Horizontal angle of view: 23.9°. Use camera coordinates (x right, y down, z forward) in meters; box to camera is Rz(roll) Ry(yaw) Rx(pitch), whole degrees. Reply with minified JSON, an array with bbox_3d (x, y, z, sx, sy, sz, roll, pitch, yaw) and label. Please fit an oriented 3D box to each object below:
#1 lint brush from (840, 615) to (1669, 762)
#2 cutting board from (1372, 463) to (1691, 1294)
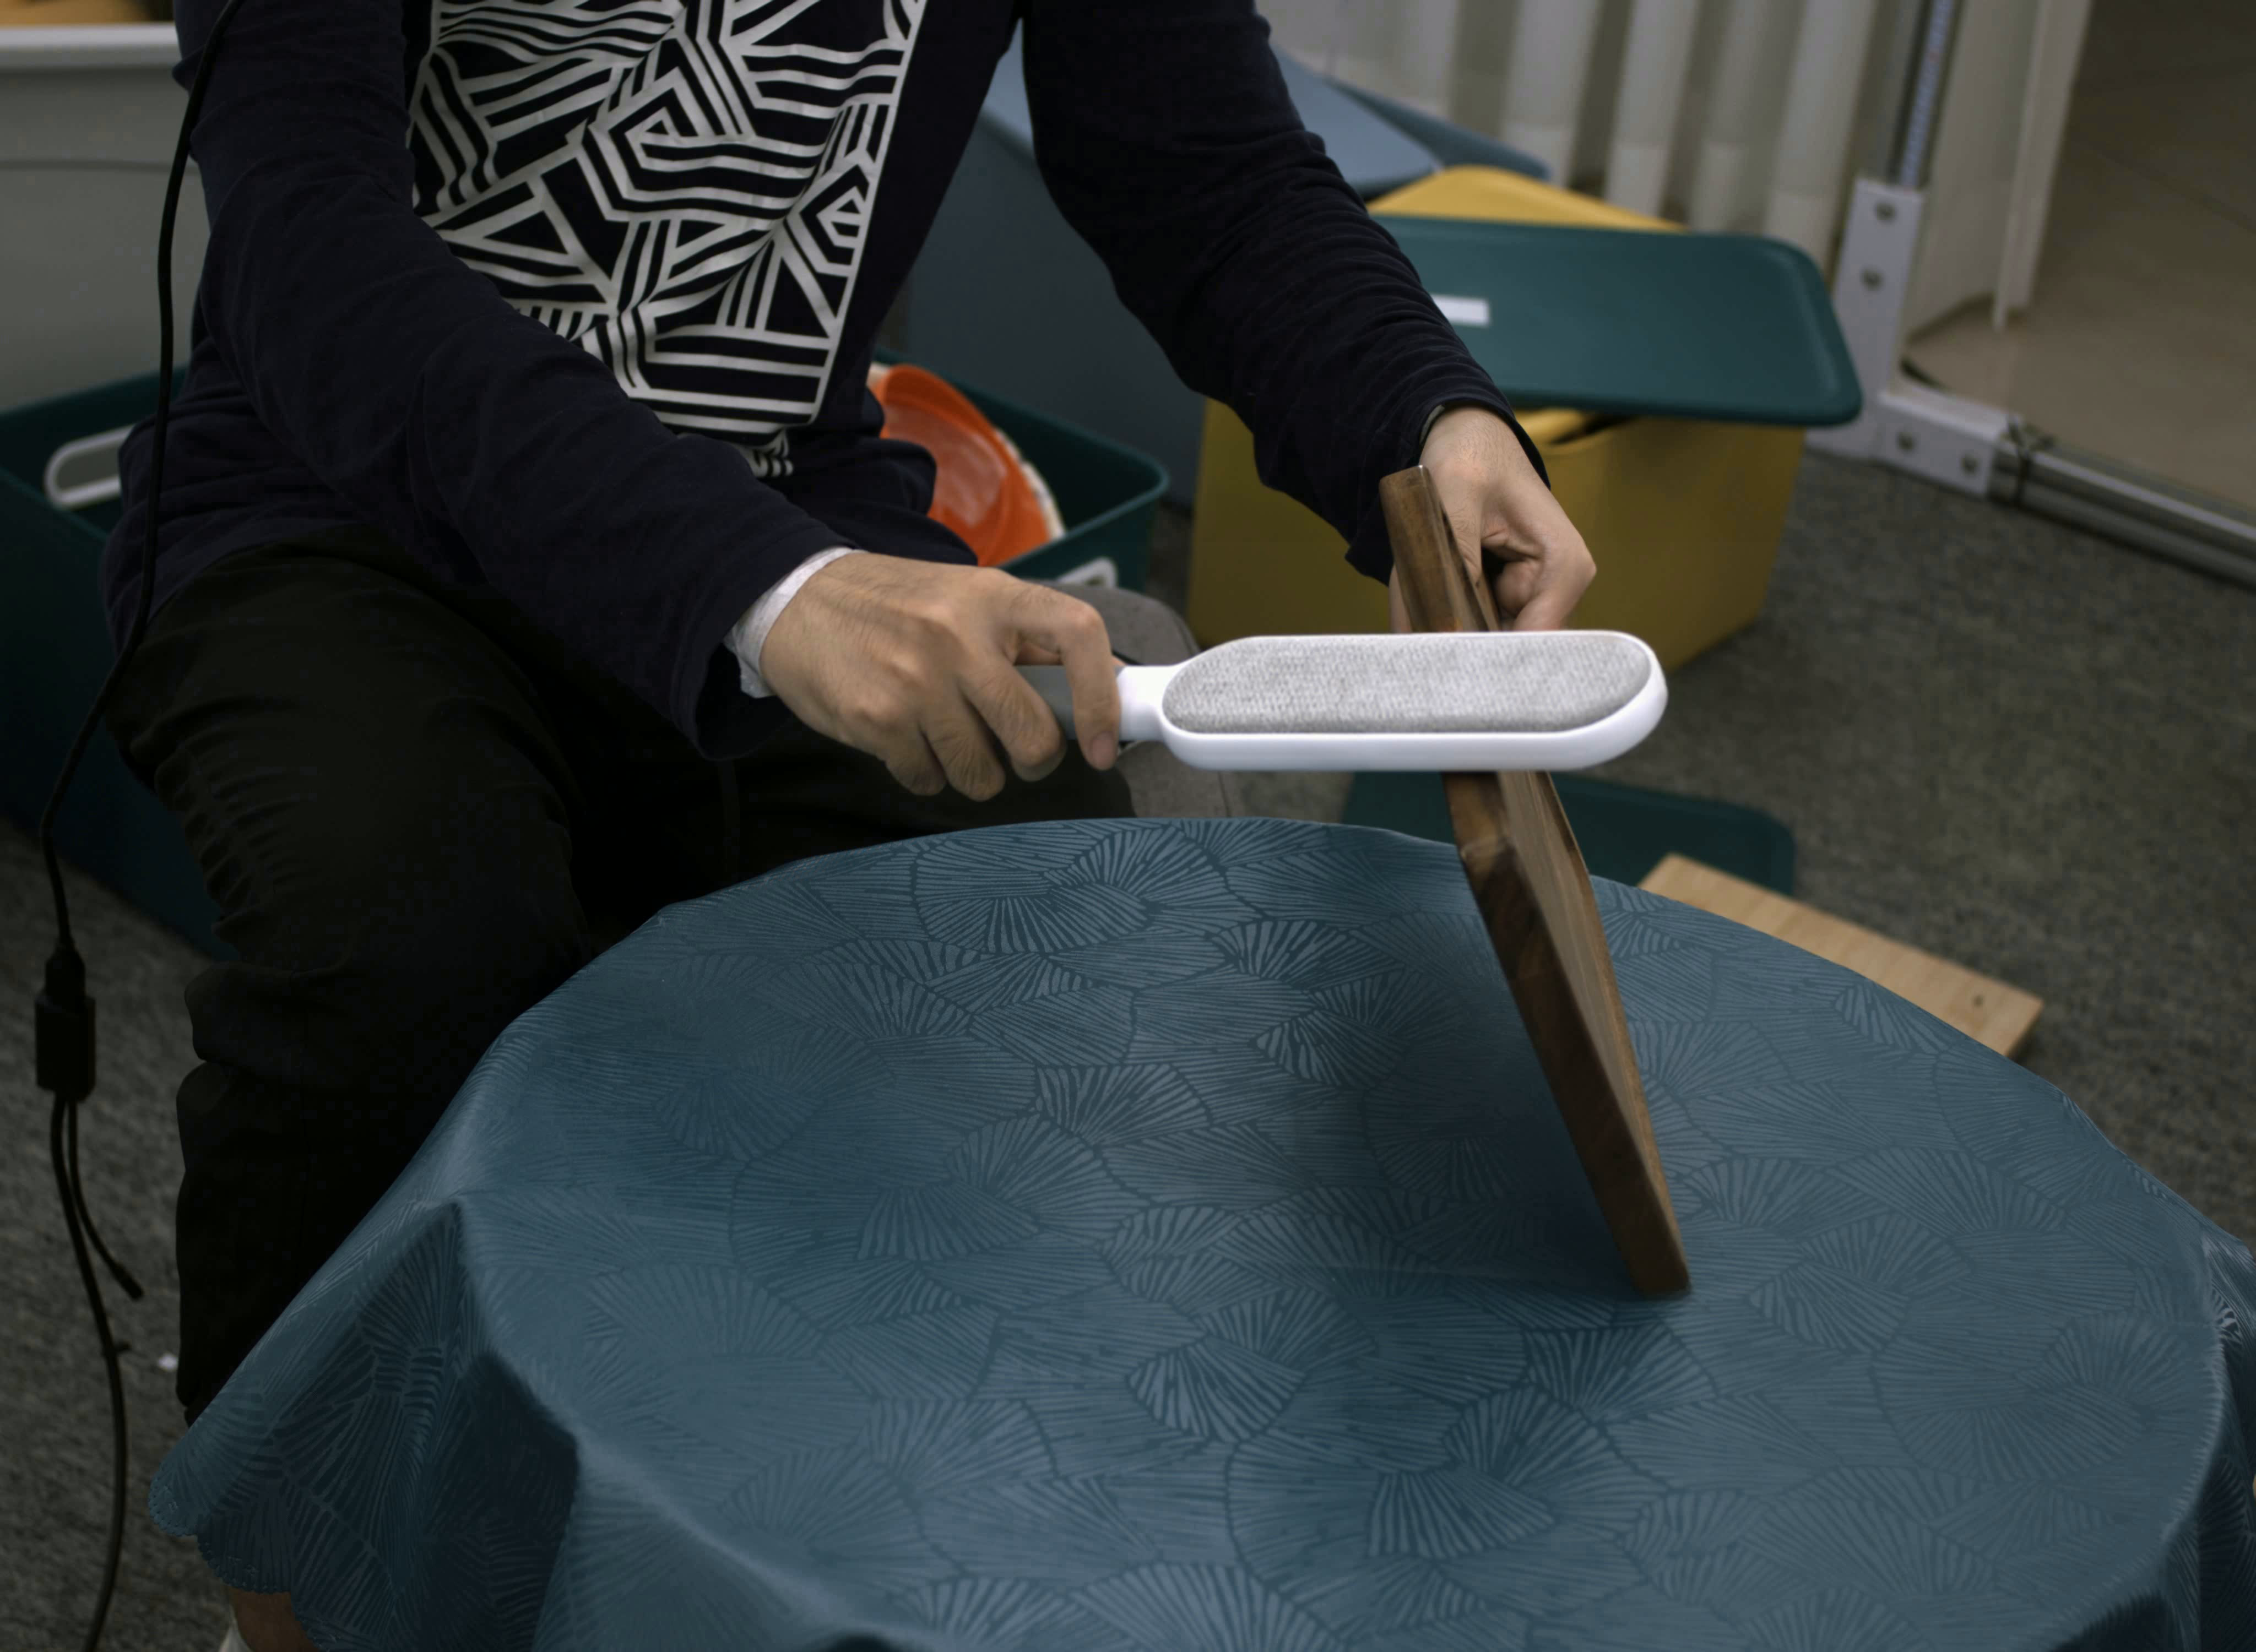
[{"bbox_3d":[0.036,-0.046,1.769,0.310,0.021,0.060,1,45,31],"label":"lint brush"},{"bbox_3d":[0.134,-0.012,1.870,0.023,0.199,0.355,-20,32,8],"label":"cutting board"}]
